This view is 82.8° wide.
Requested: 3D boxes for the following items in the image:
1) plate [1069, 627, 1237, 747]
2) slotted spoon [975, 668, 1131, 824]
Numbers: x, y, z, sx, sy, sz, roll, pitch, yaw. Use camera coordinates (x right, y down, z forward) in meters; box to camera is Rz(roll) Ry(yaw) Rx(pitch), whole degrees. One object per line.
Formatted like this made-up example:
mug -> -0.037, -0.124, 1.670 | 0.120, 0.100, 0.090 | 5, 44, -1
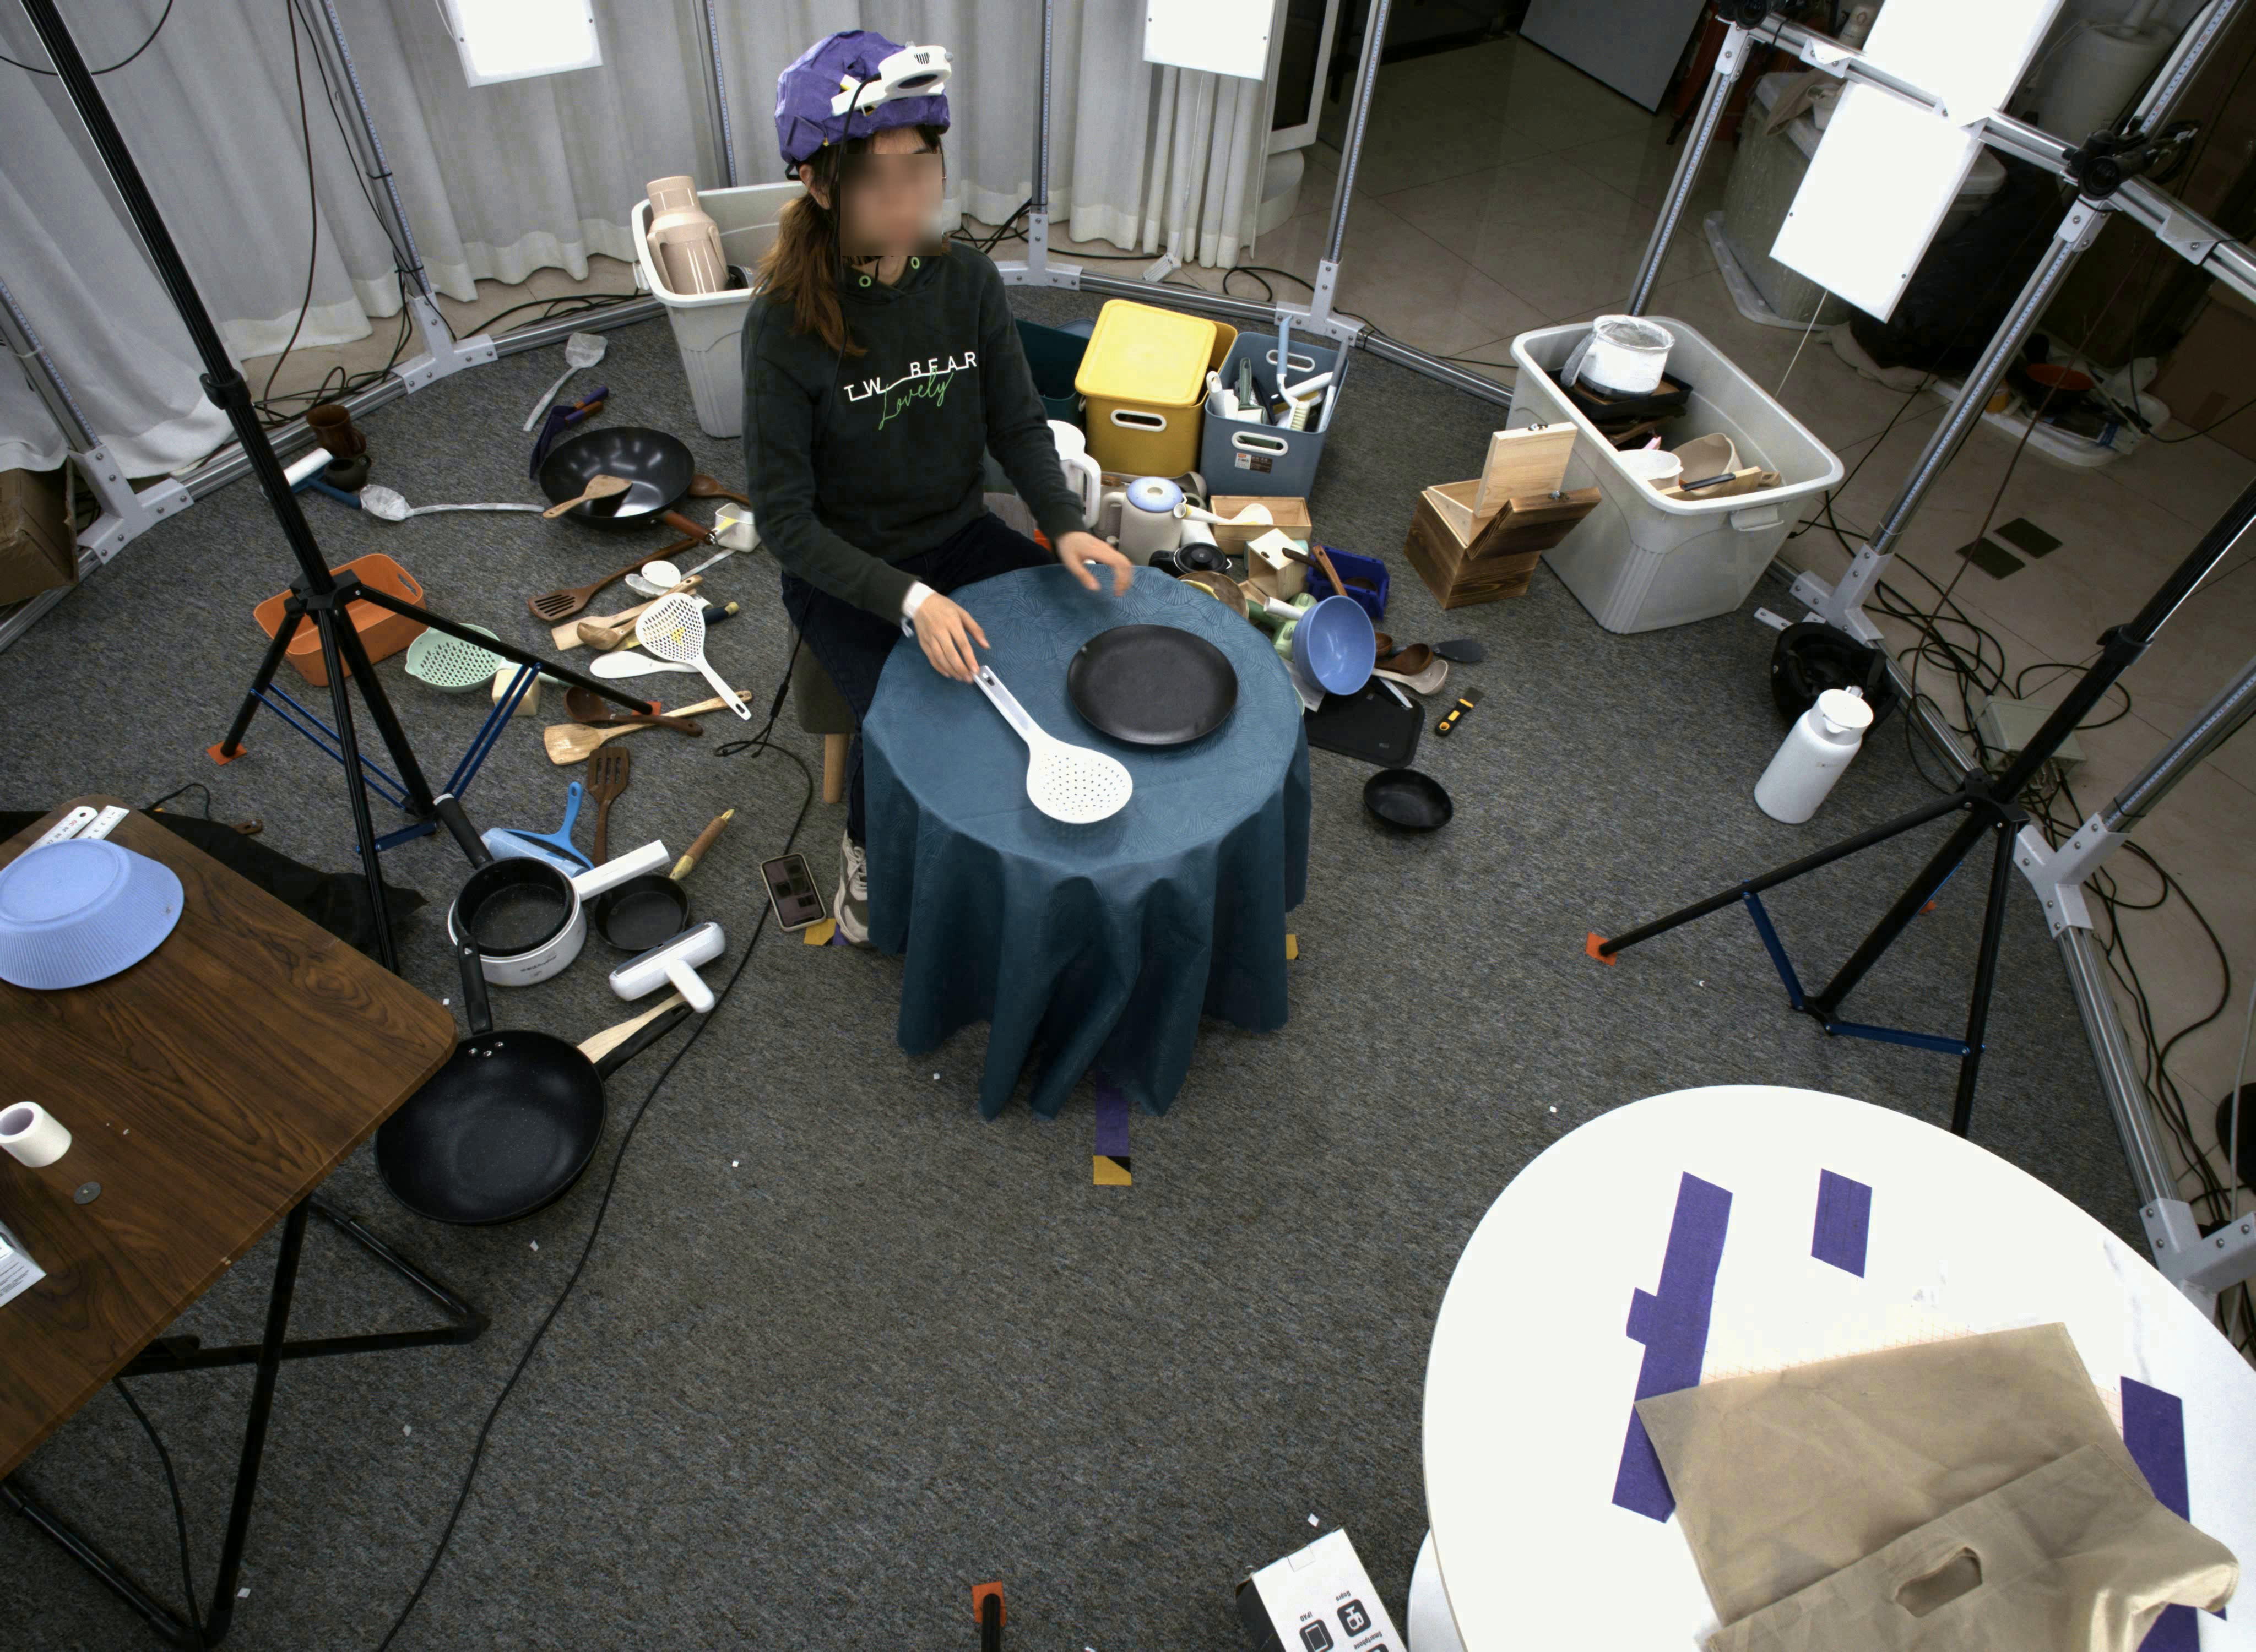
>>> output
plate -> 0.036, -0.199, 1.845 | 0.244, 0.023, 0.250 | 2, 49, -2
slotted spoon -> -0.120, -0.114, 1.746 | 0.136, 0.044, 0.357 | -21, 52, -24
